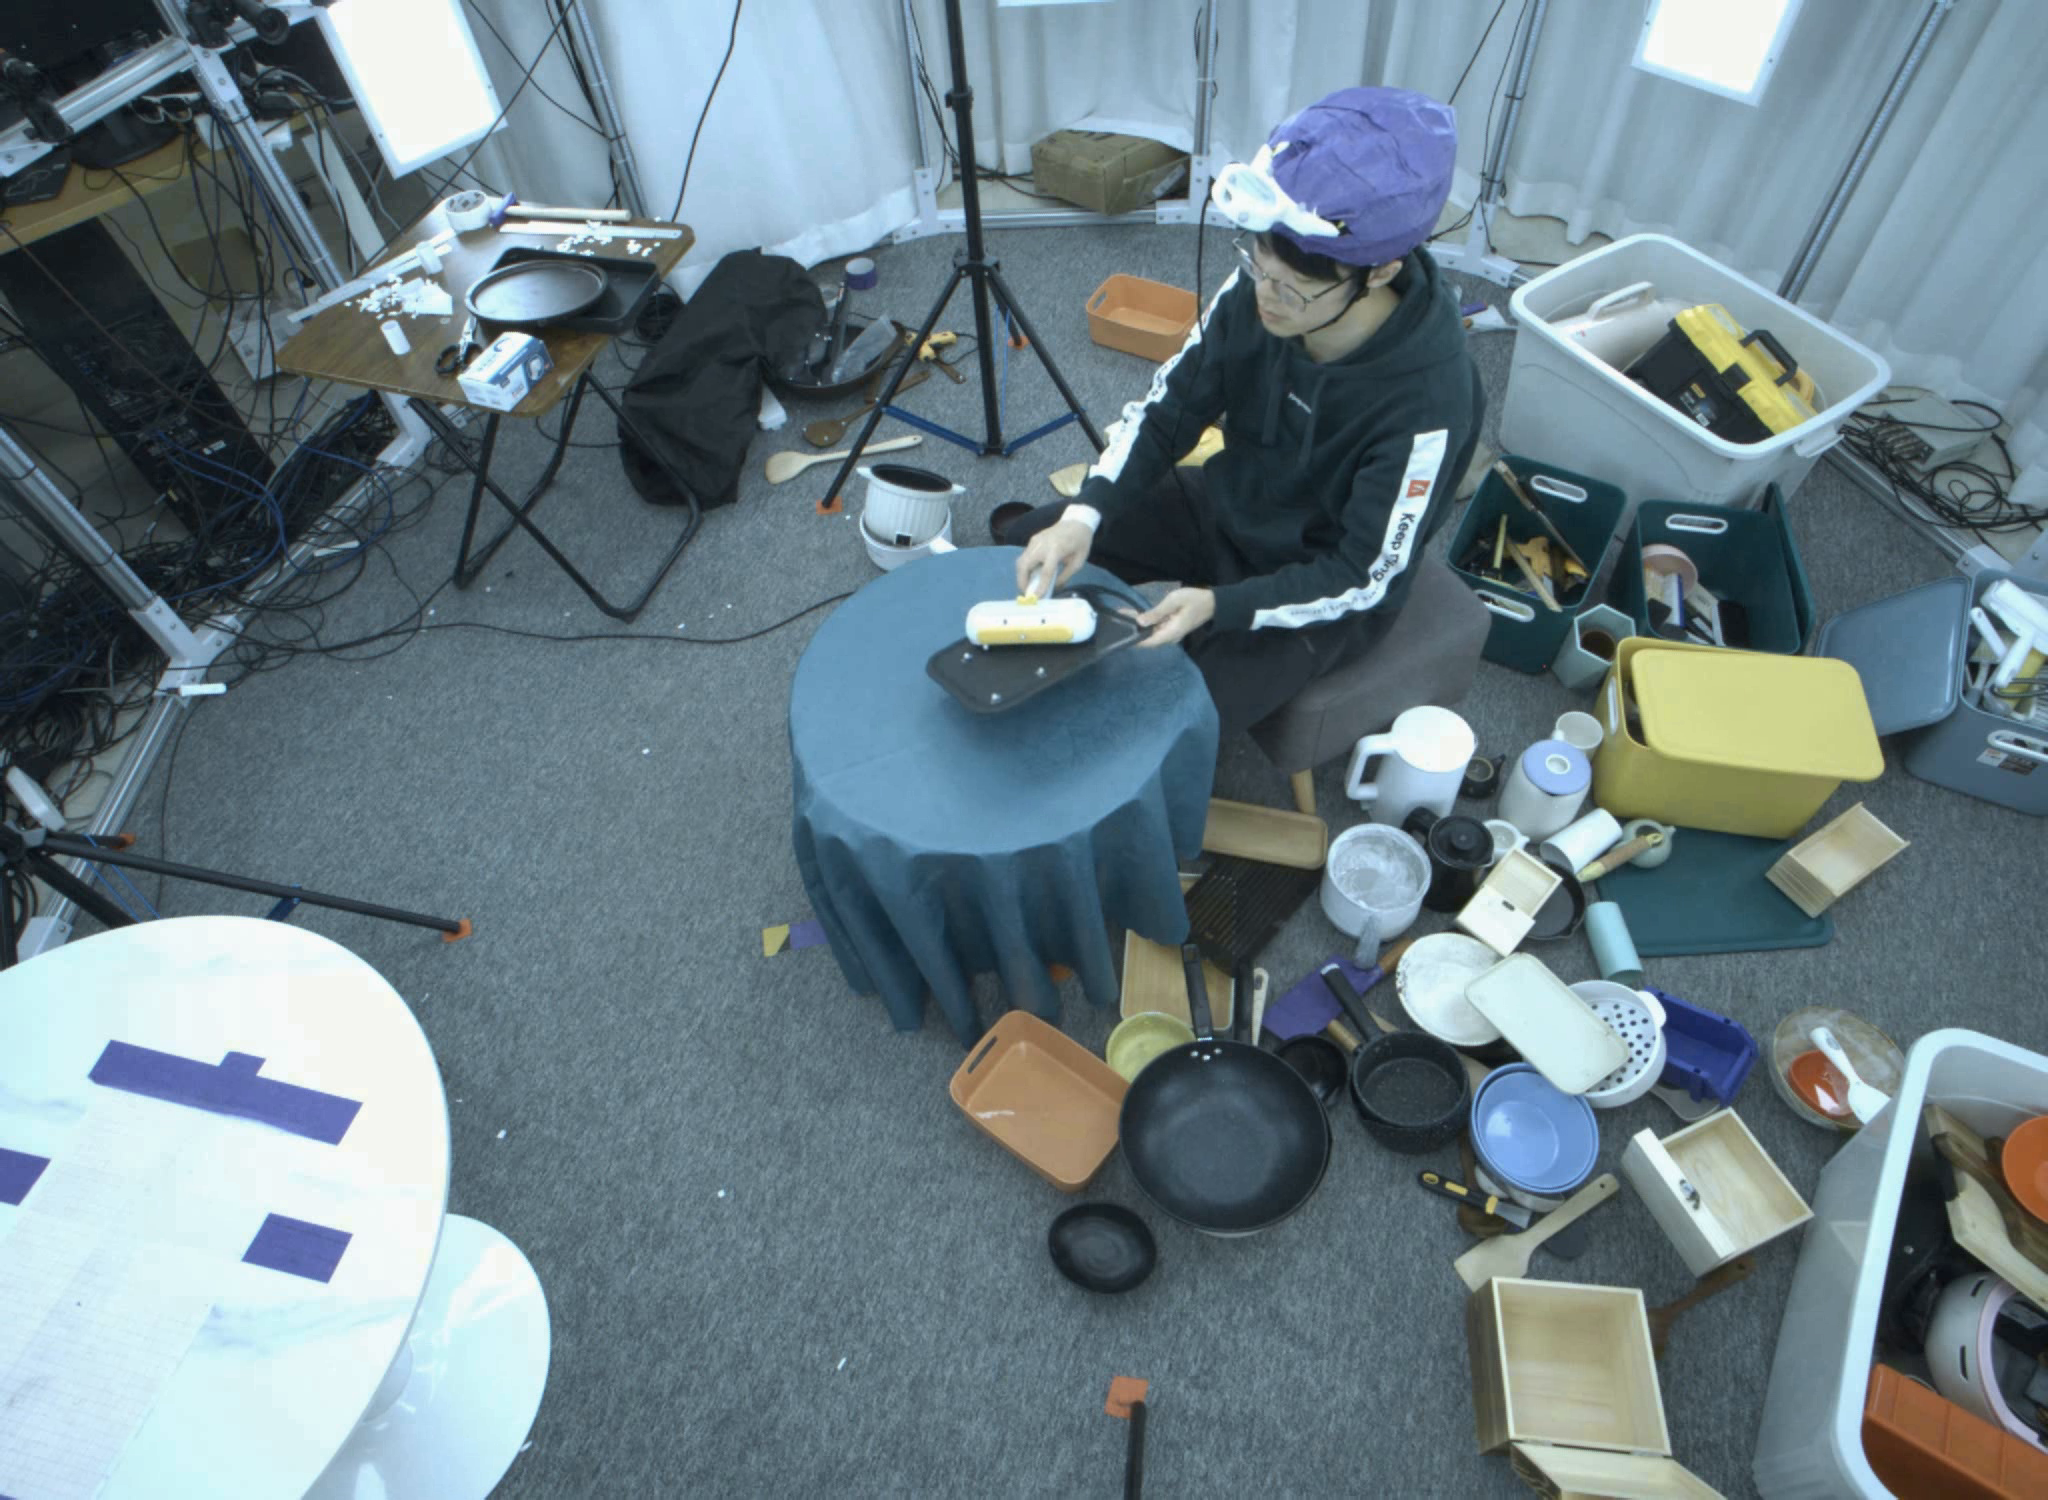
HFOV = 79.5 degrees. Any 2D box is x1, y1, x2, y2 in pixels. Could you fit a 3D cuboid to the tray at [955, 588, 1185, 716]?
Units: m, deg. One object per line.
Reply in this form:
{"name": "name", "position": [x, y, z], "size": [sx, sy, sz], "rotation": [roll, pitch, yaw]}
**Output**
{"name": "tray", "position": [0.070, -0.152, 1.777], "size": [0.328, 0.010, 0.206], "rotation": [-27, 39, -18]}

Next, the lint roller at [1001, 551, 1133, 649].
{"name": "lint roller", "position": [0.070, -0.221, 1.807], "size": [0.190, 0.075, 0.191], "rotation": [-4, 38, 18]}
